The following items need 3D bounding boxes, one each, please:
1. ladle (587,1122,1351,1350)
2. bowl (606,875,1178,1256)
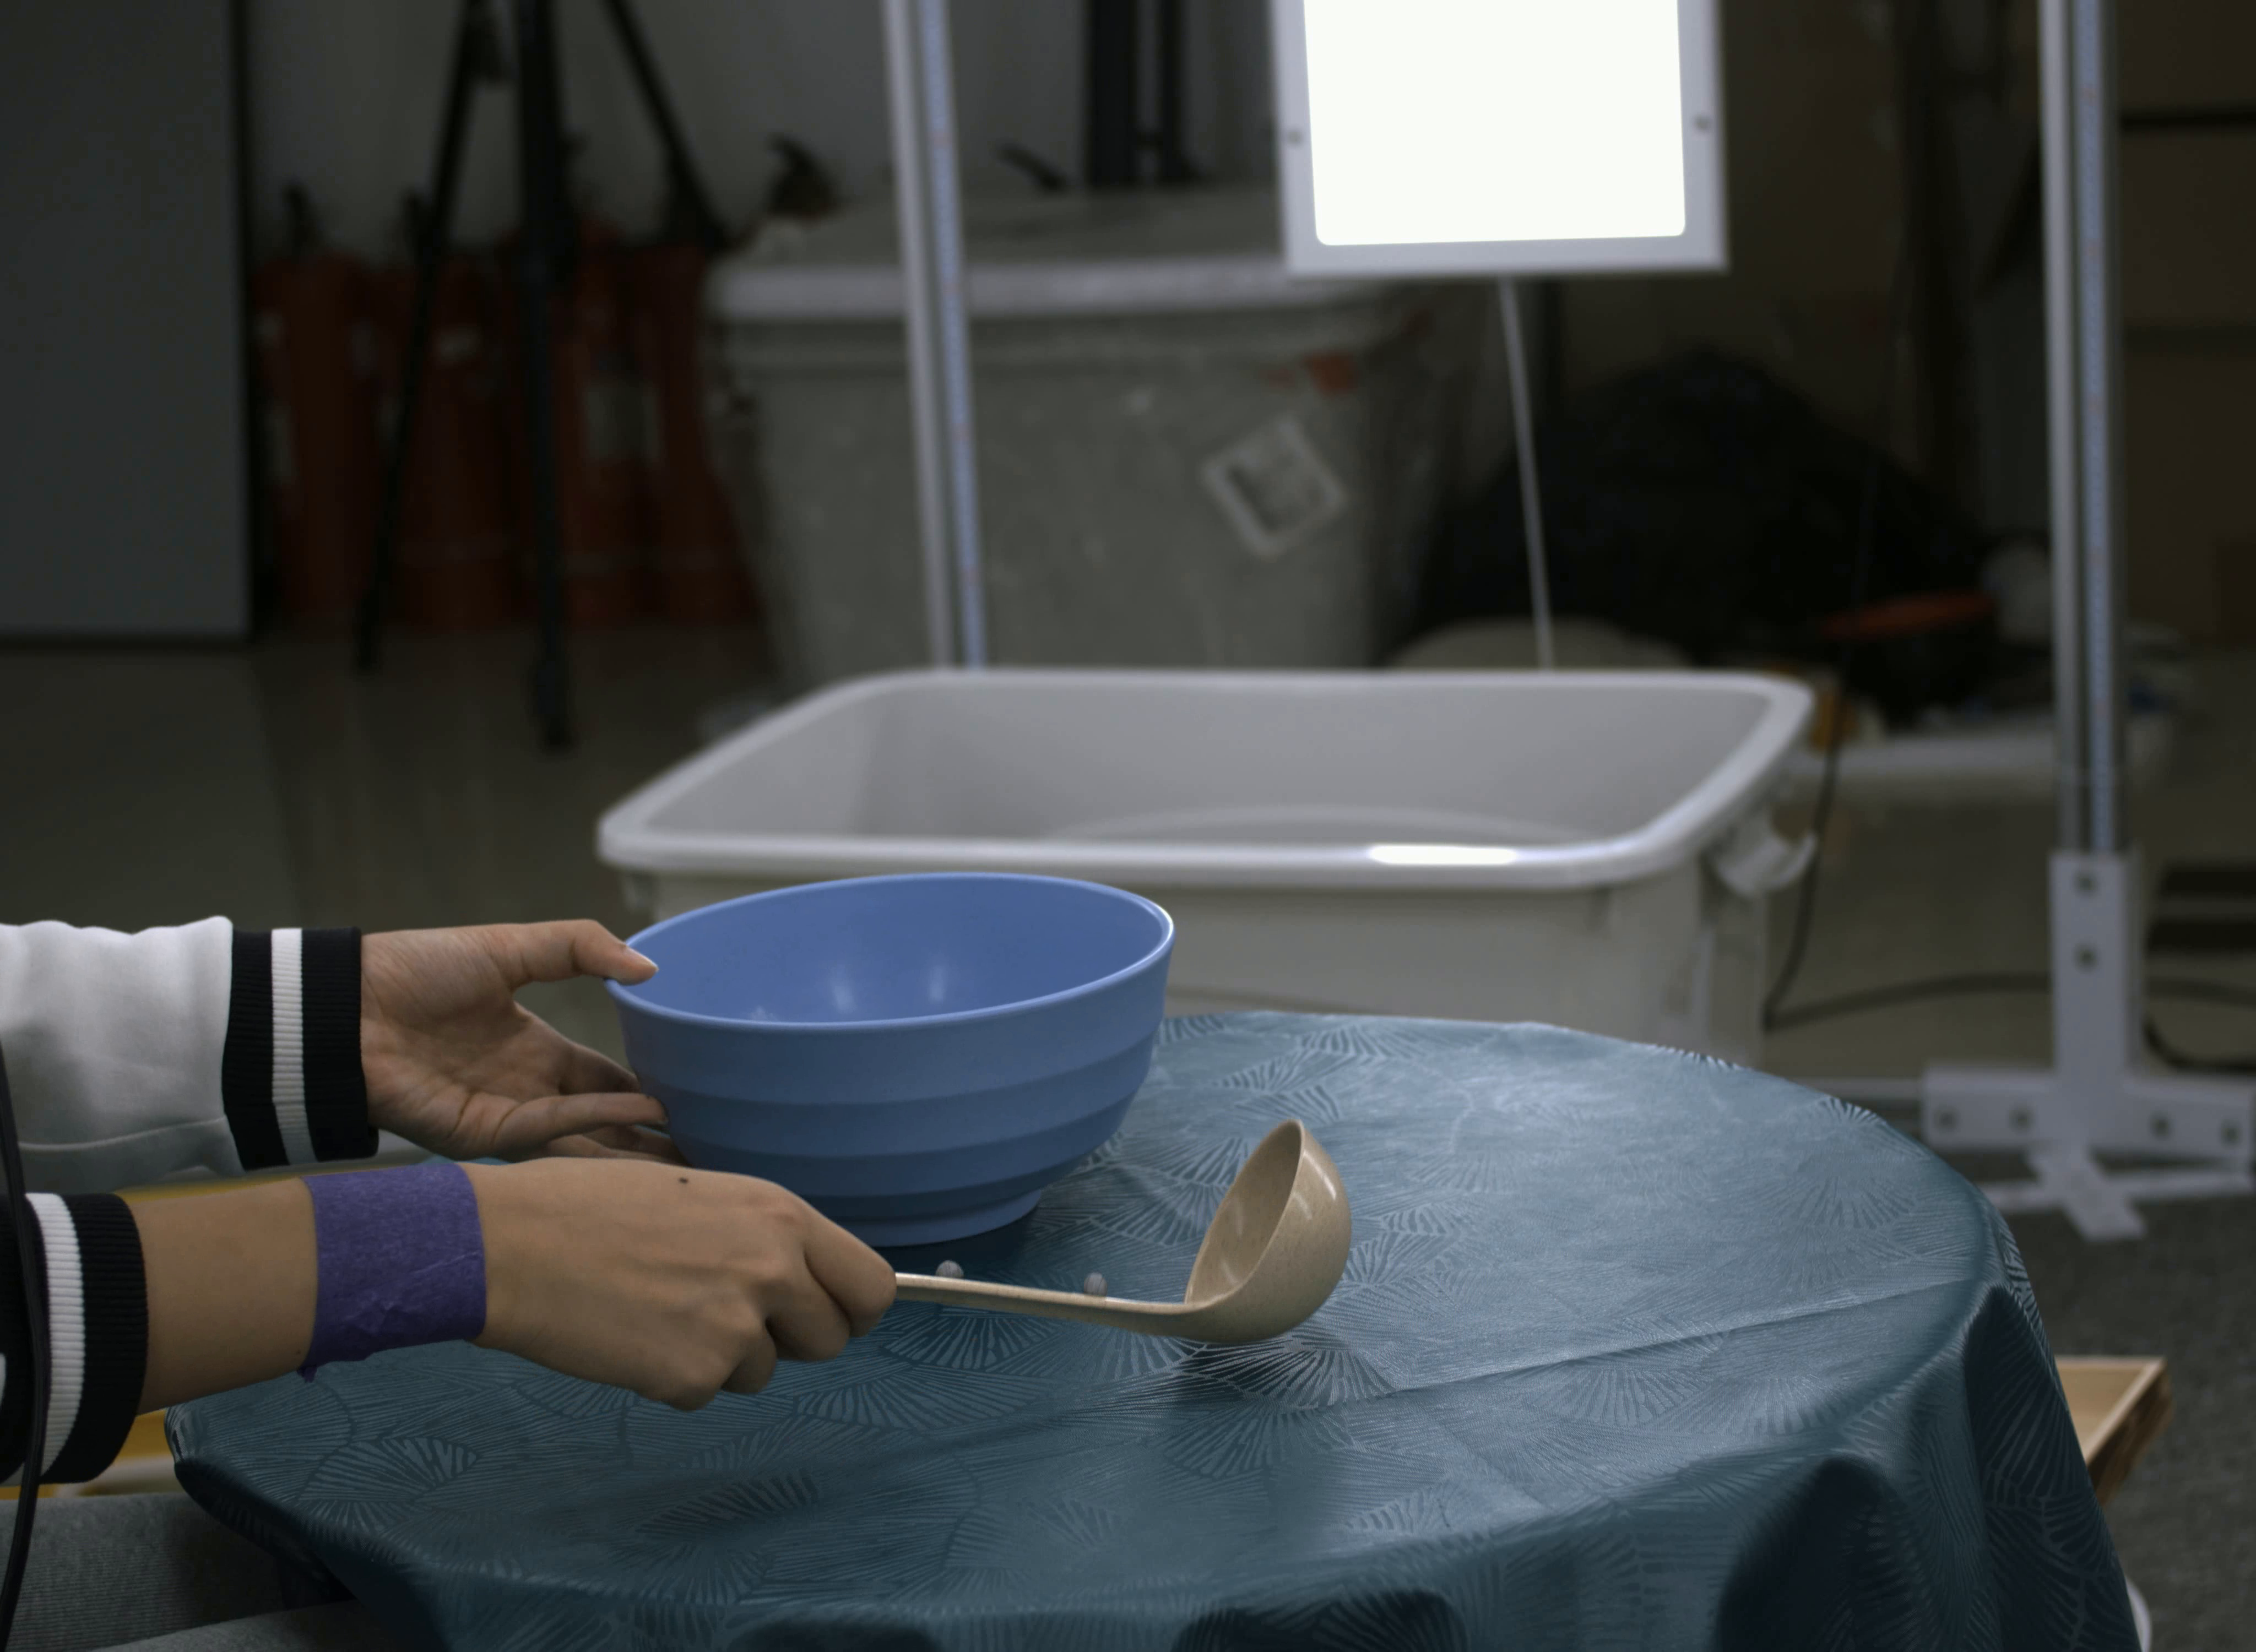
[{"bbox_3d":[-0.050,0.117,1.676,0.249,0.073,0.073,7,-29,-26],"label":"ladle"},{"bbox_3d":[-0.078,0.088,1.893,0.196,0.096,0.196,-4,15,0],"label":"bowl"}]
